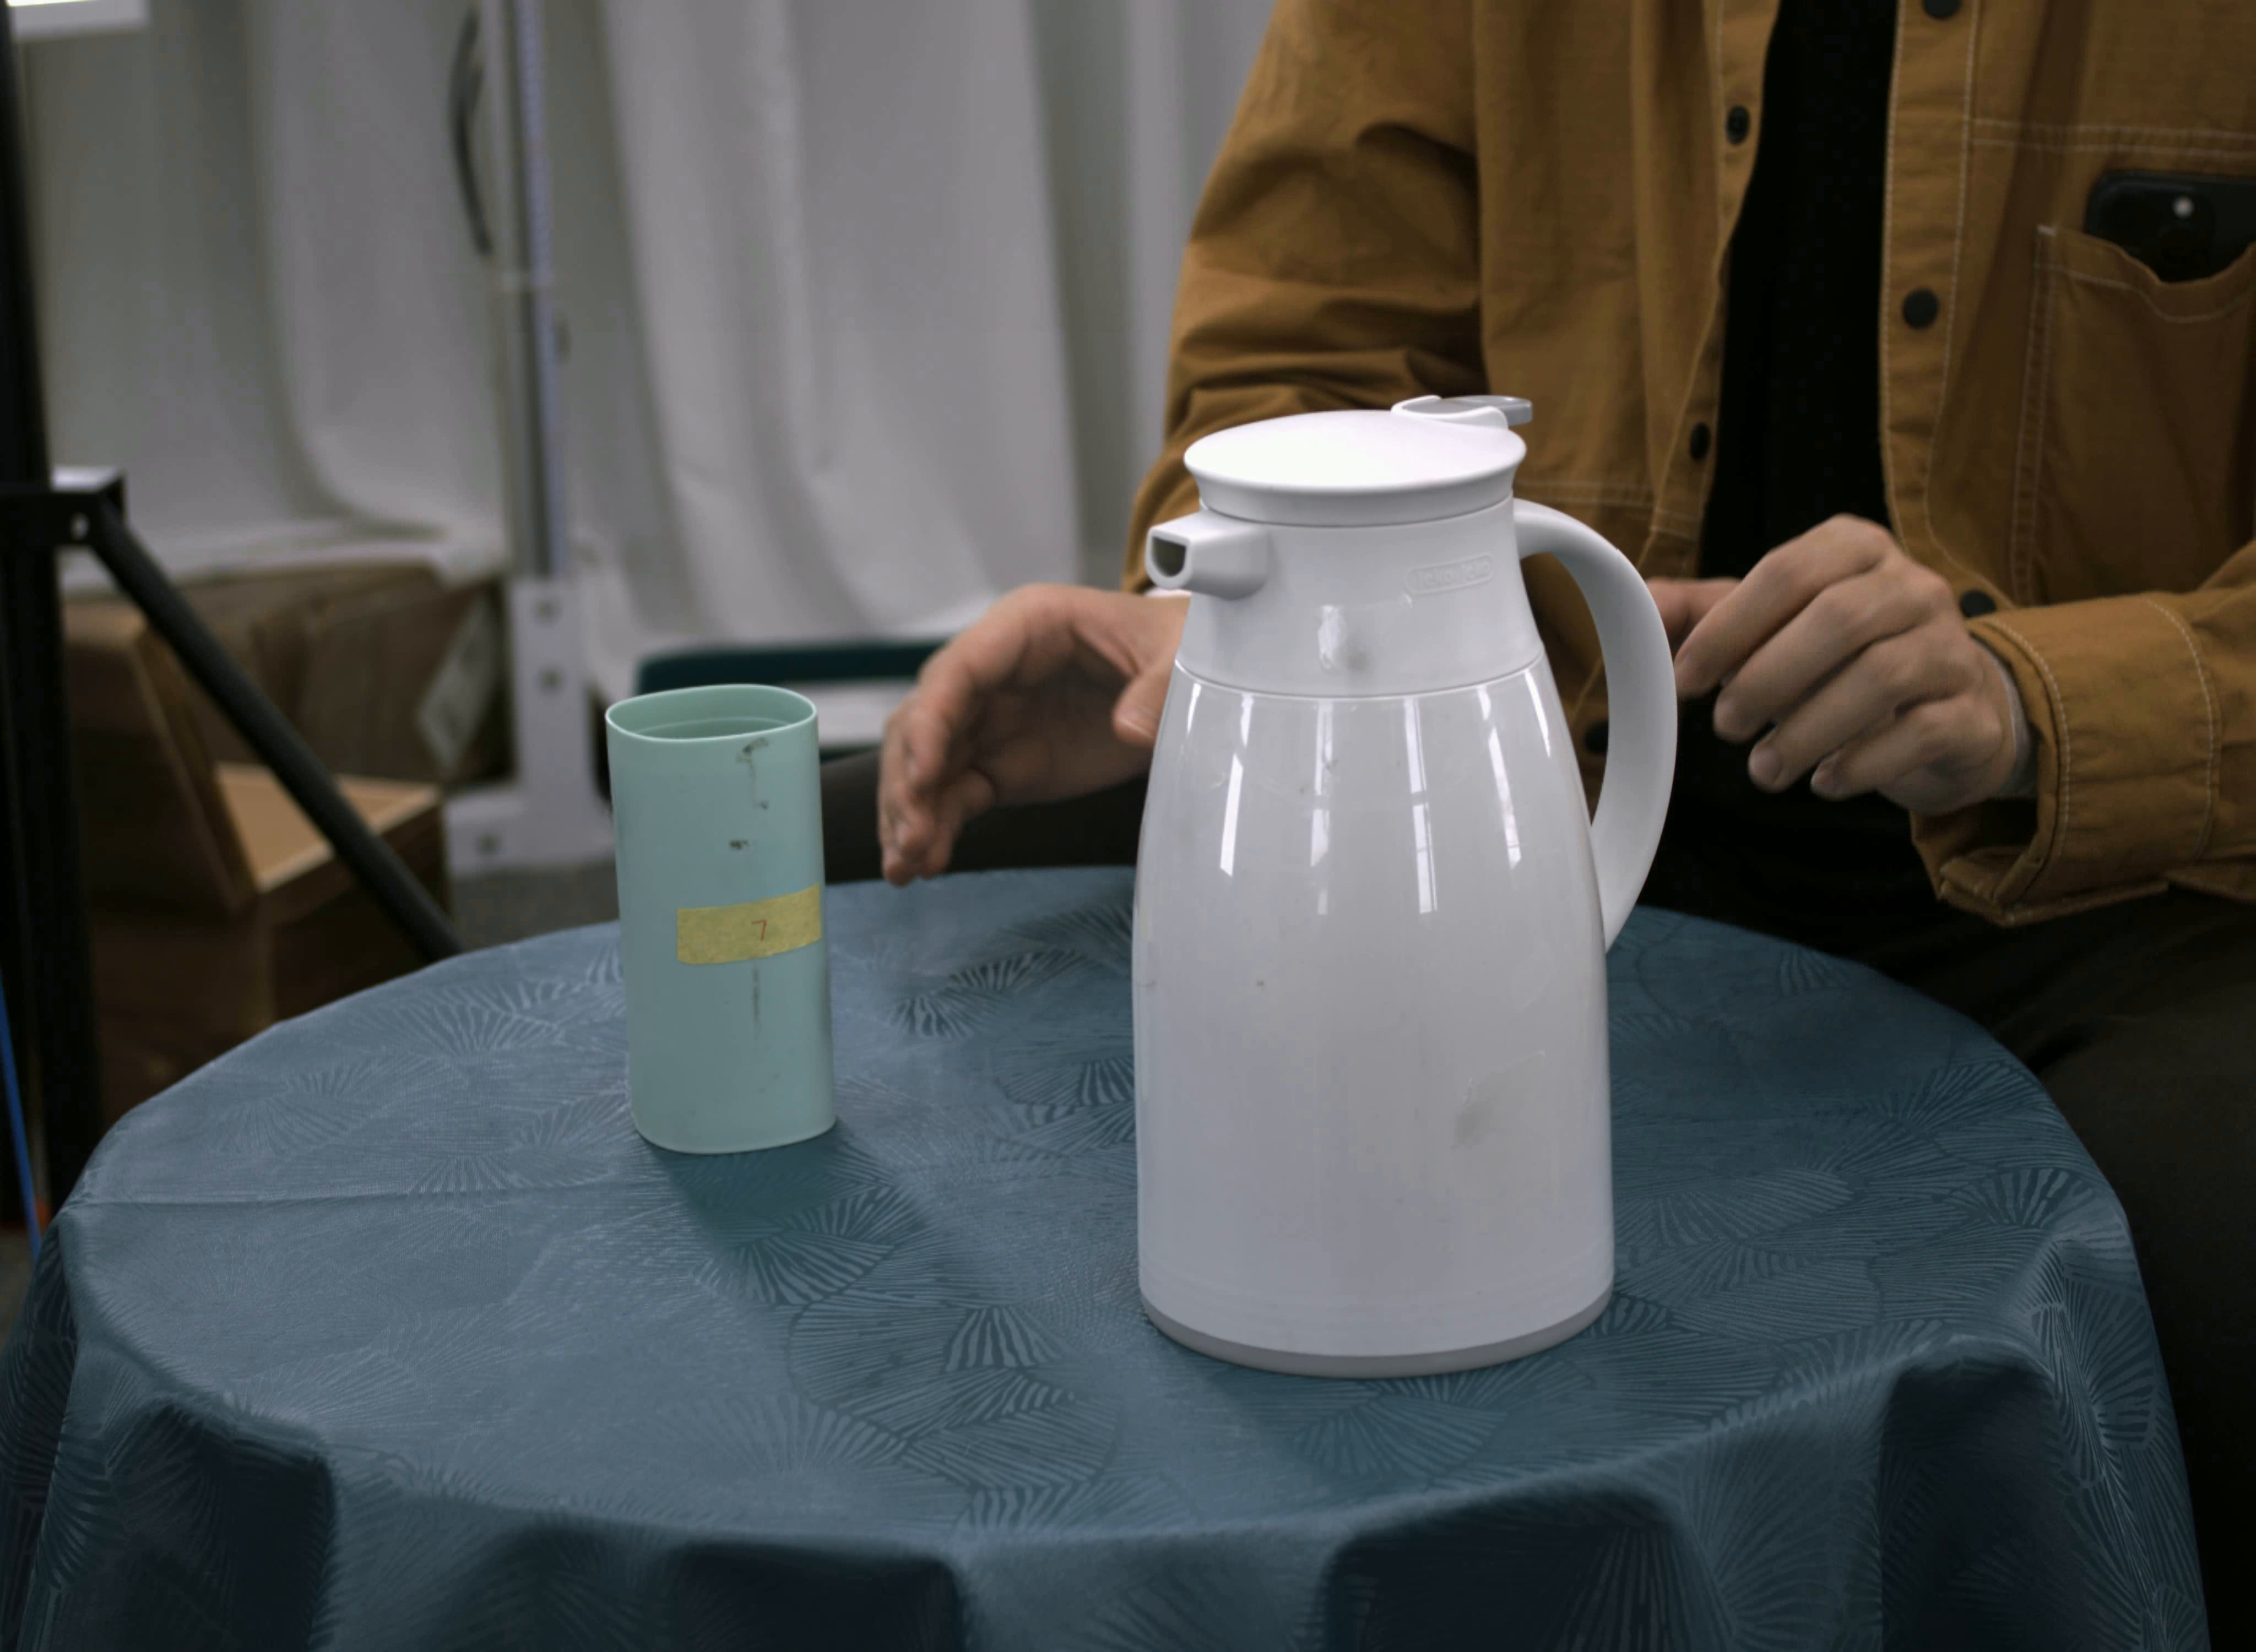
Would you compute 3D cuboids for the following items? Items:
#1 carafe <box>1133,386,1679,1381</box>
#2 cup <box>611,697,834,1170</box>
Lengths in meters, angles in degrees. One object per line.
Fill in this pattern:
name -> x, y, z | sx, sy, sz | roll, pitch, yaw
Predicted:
carafe -> 0.080, 0.007, 1.445 | 0.164, 0.248, 0.135 | -11, 17, -33
cup -> -0.123, 0.031, 1.620 | 0.066, 0.132, 0.067 | -2, 15, -1
